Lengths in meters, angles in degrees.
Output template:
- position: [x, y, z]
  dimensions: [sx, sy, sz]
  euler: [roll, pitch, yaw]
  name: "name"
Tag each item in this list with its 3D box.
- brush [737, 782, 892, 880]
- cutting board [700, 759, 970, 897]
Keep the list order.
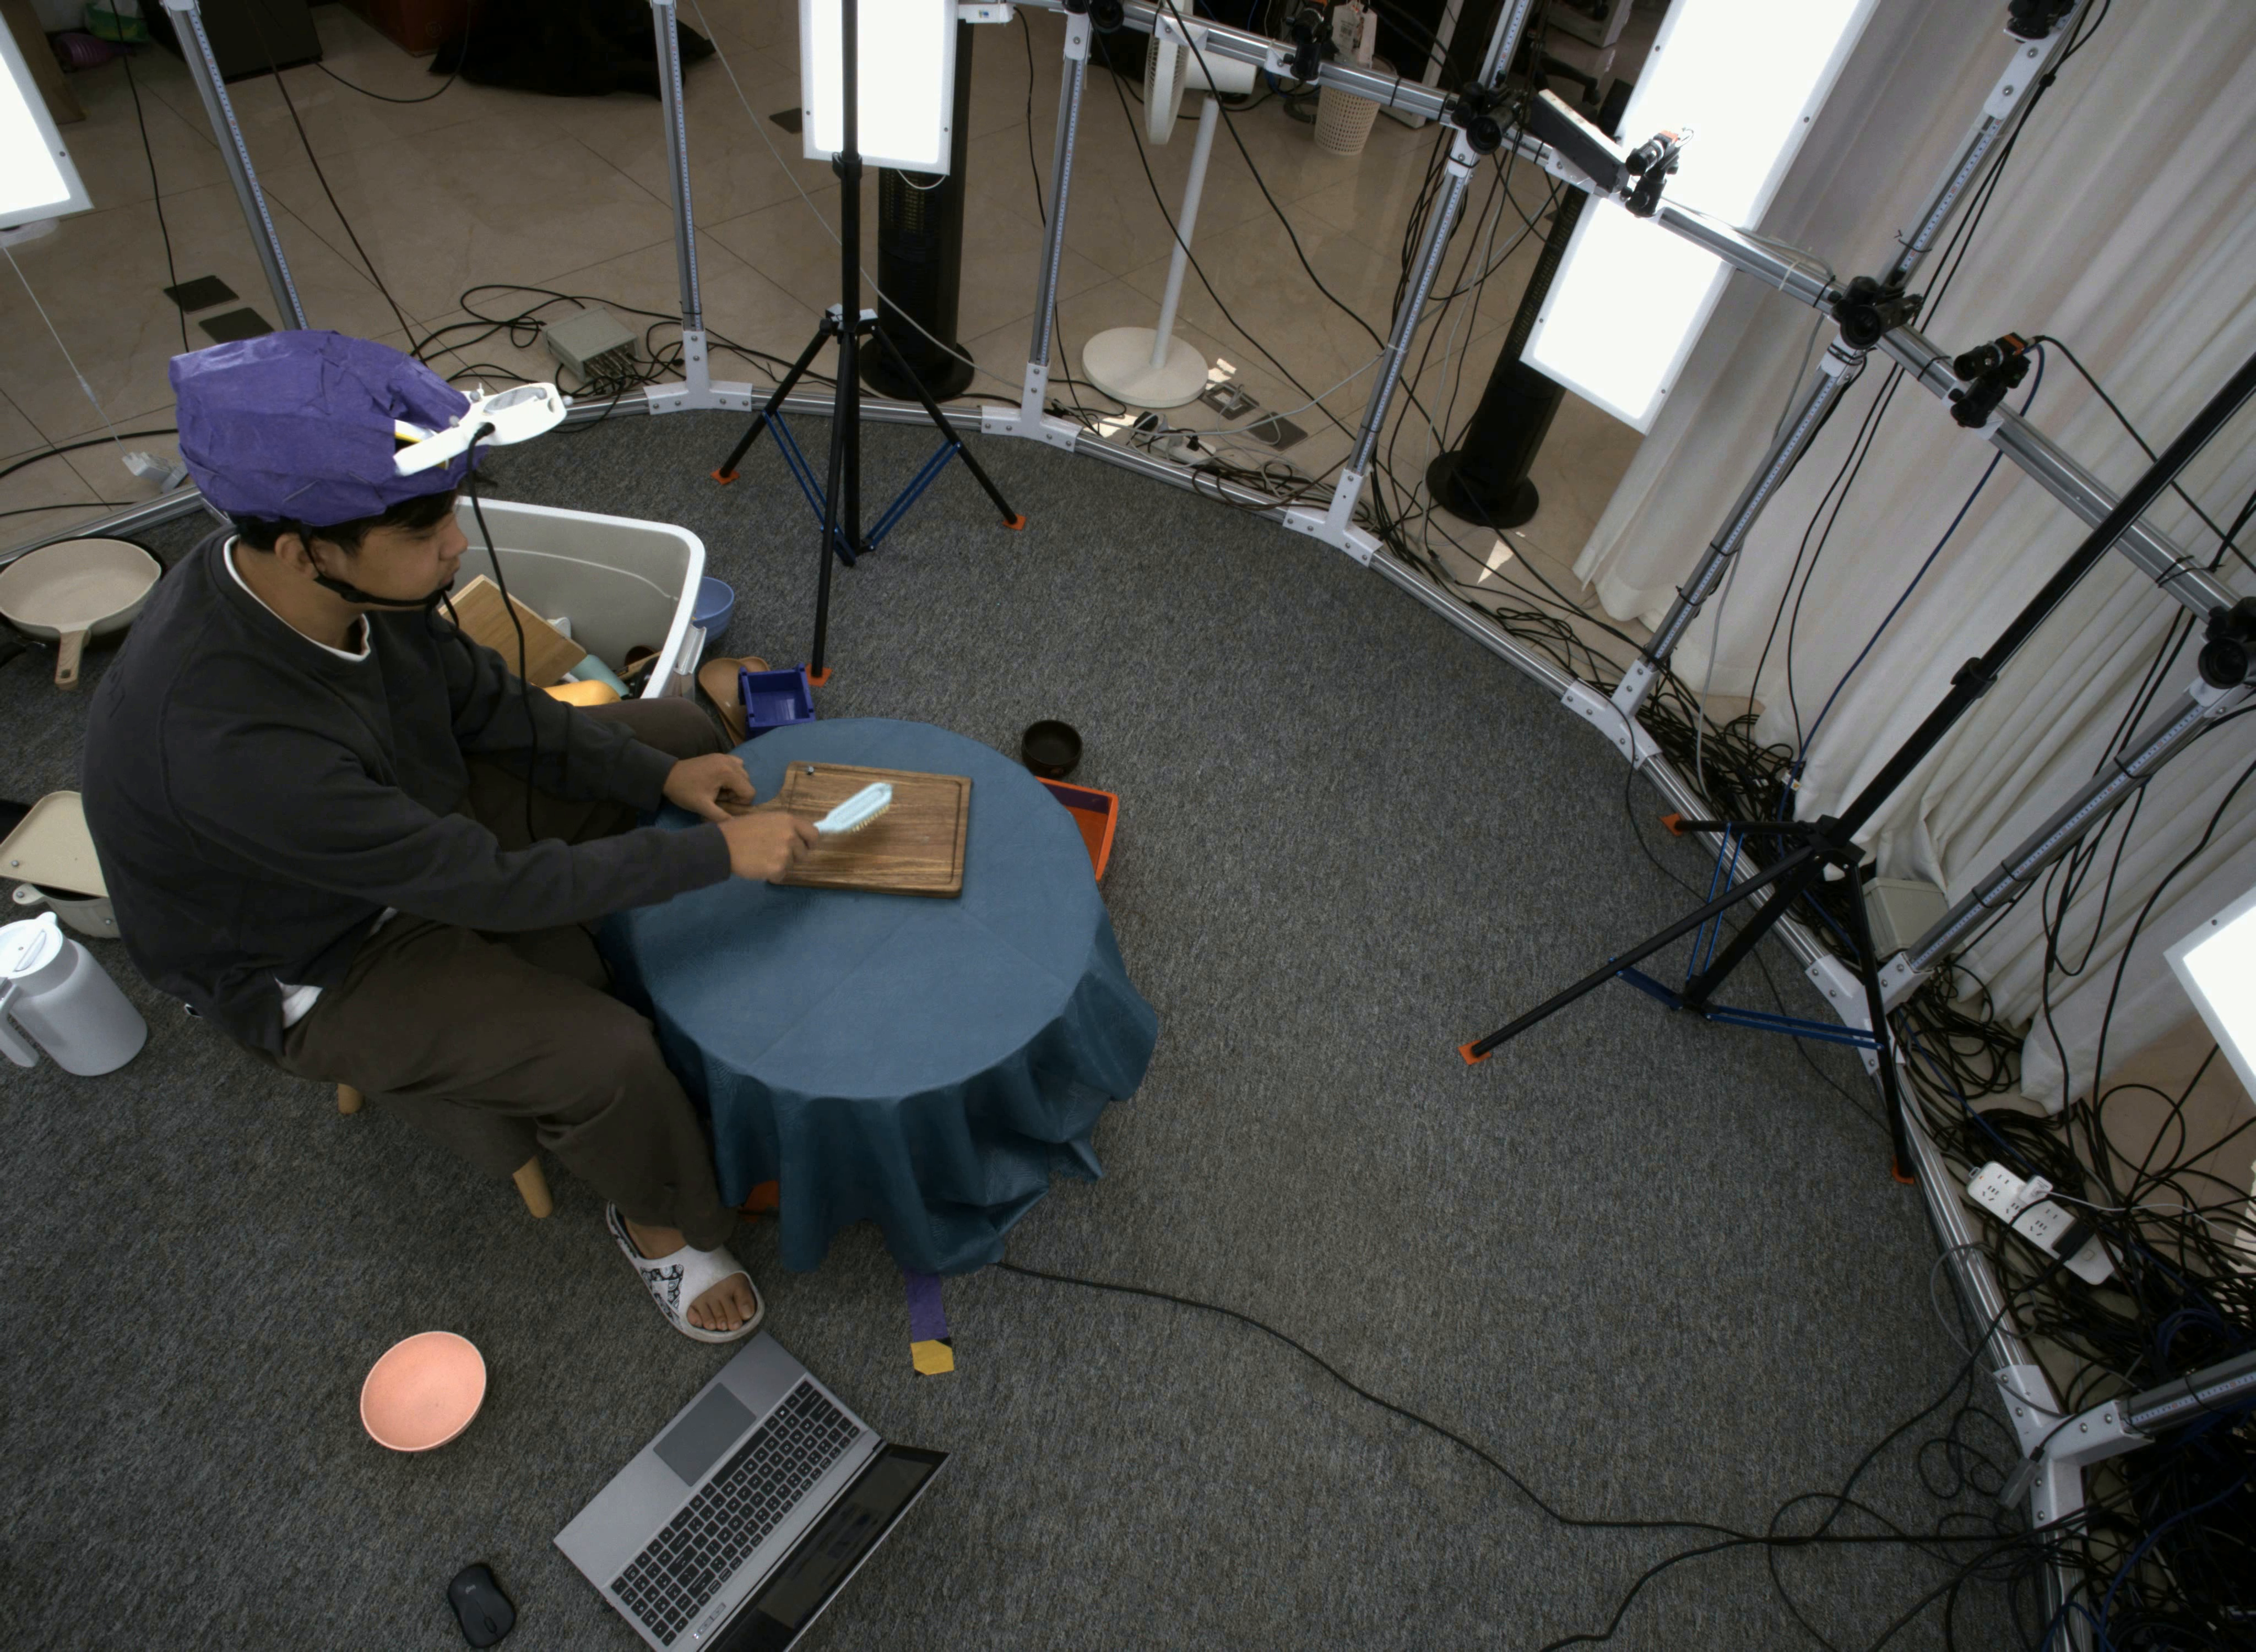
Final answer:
- position: [-0.391, 0.011, 1.629]
  dimensions: [0.037, 0.050, 0.229]
  euler: [43, 50, 17]
  name: "brush"
- position: [-0.388, -0.005, 1.719]
  dimensions: [0.351, 0.023, 0.197]
  euler: [6, 53, -10]
  name: "cutting board"
